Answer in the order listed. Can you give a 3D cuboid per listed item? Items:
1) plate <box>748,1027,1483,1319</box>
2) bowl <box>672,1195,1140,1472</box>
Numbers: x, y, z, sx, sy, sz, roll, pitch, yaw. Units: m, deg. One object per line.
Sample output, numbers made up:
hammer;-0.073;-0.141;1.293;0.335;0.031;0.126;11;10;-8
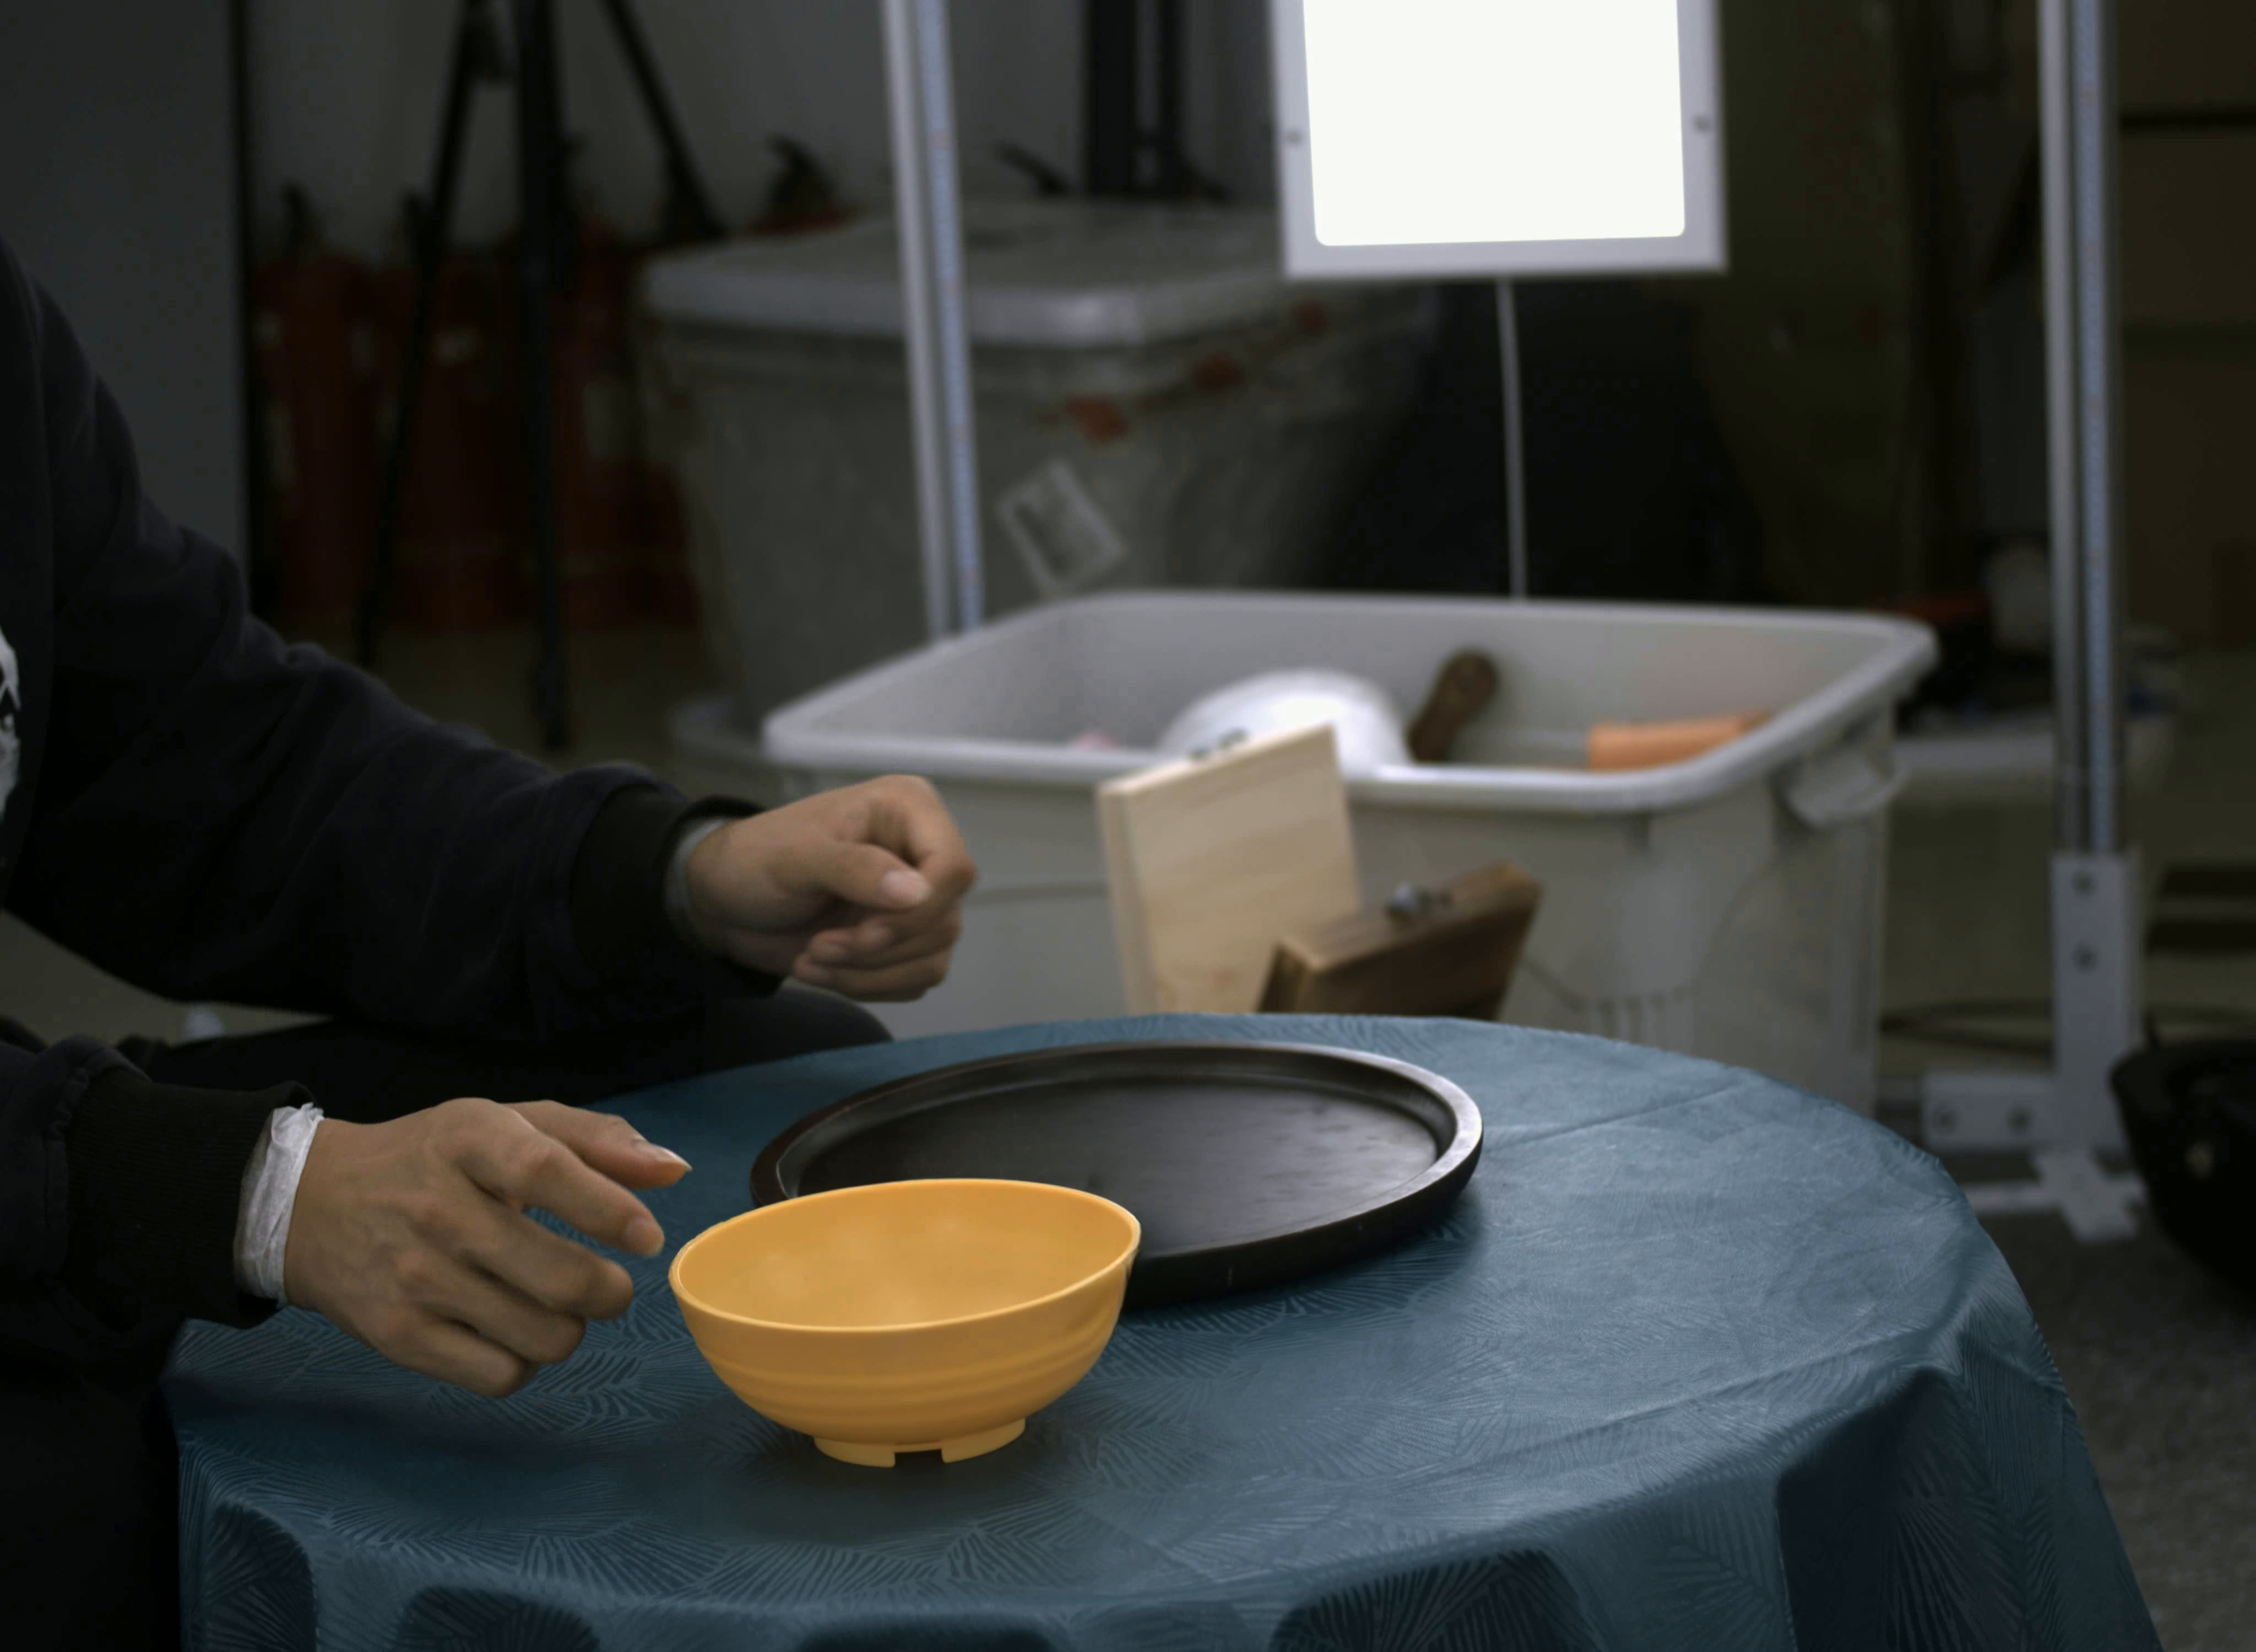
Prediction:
plate;-0.003;0.118;1.885;0.254;0.029;0.254;-6;15;0
bowl;-0.064;0.158;1.675;0.145;0.060;0.145;-6;11;0
